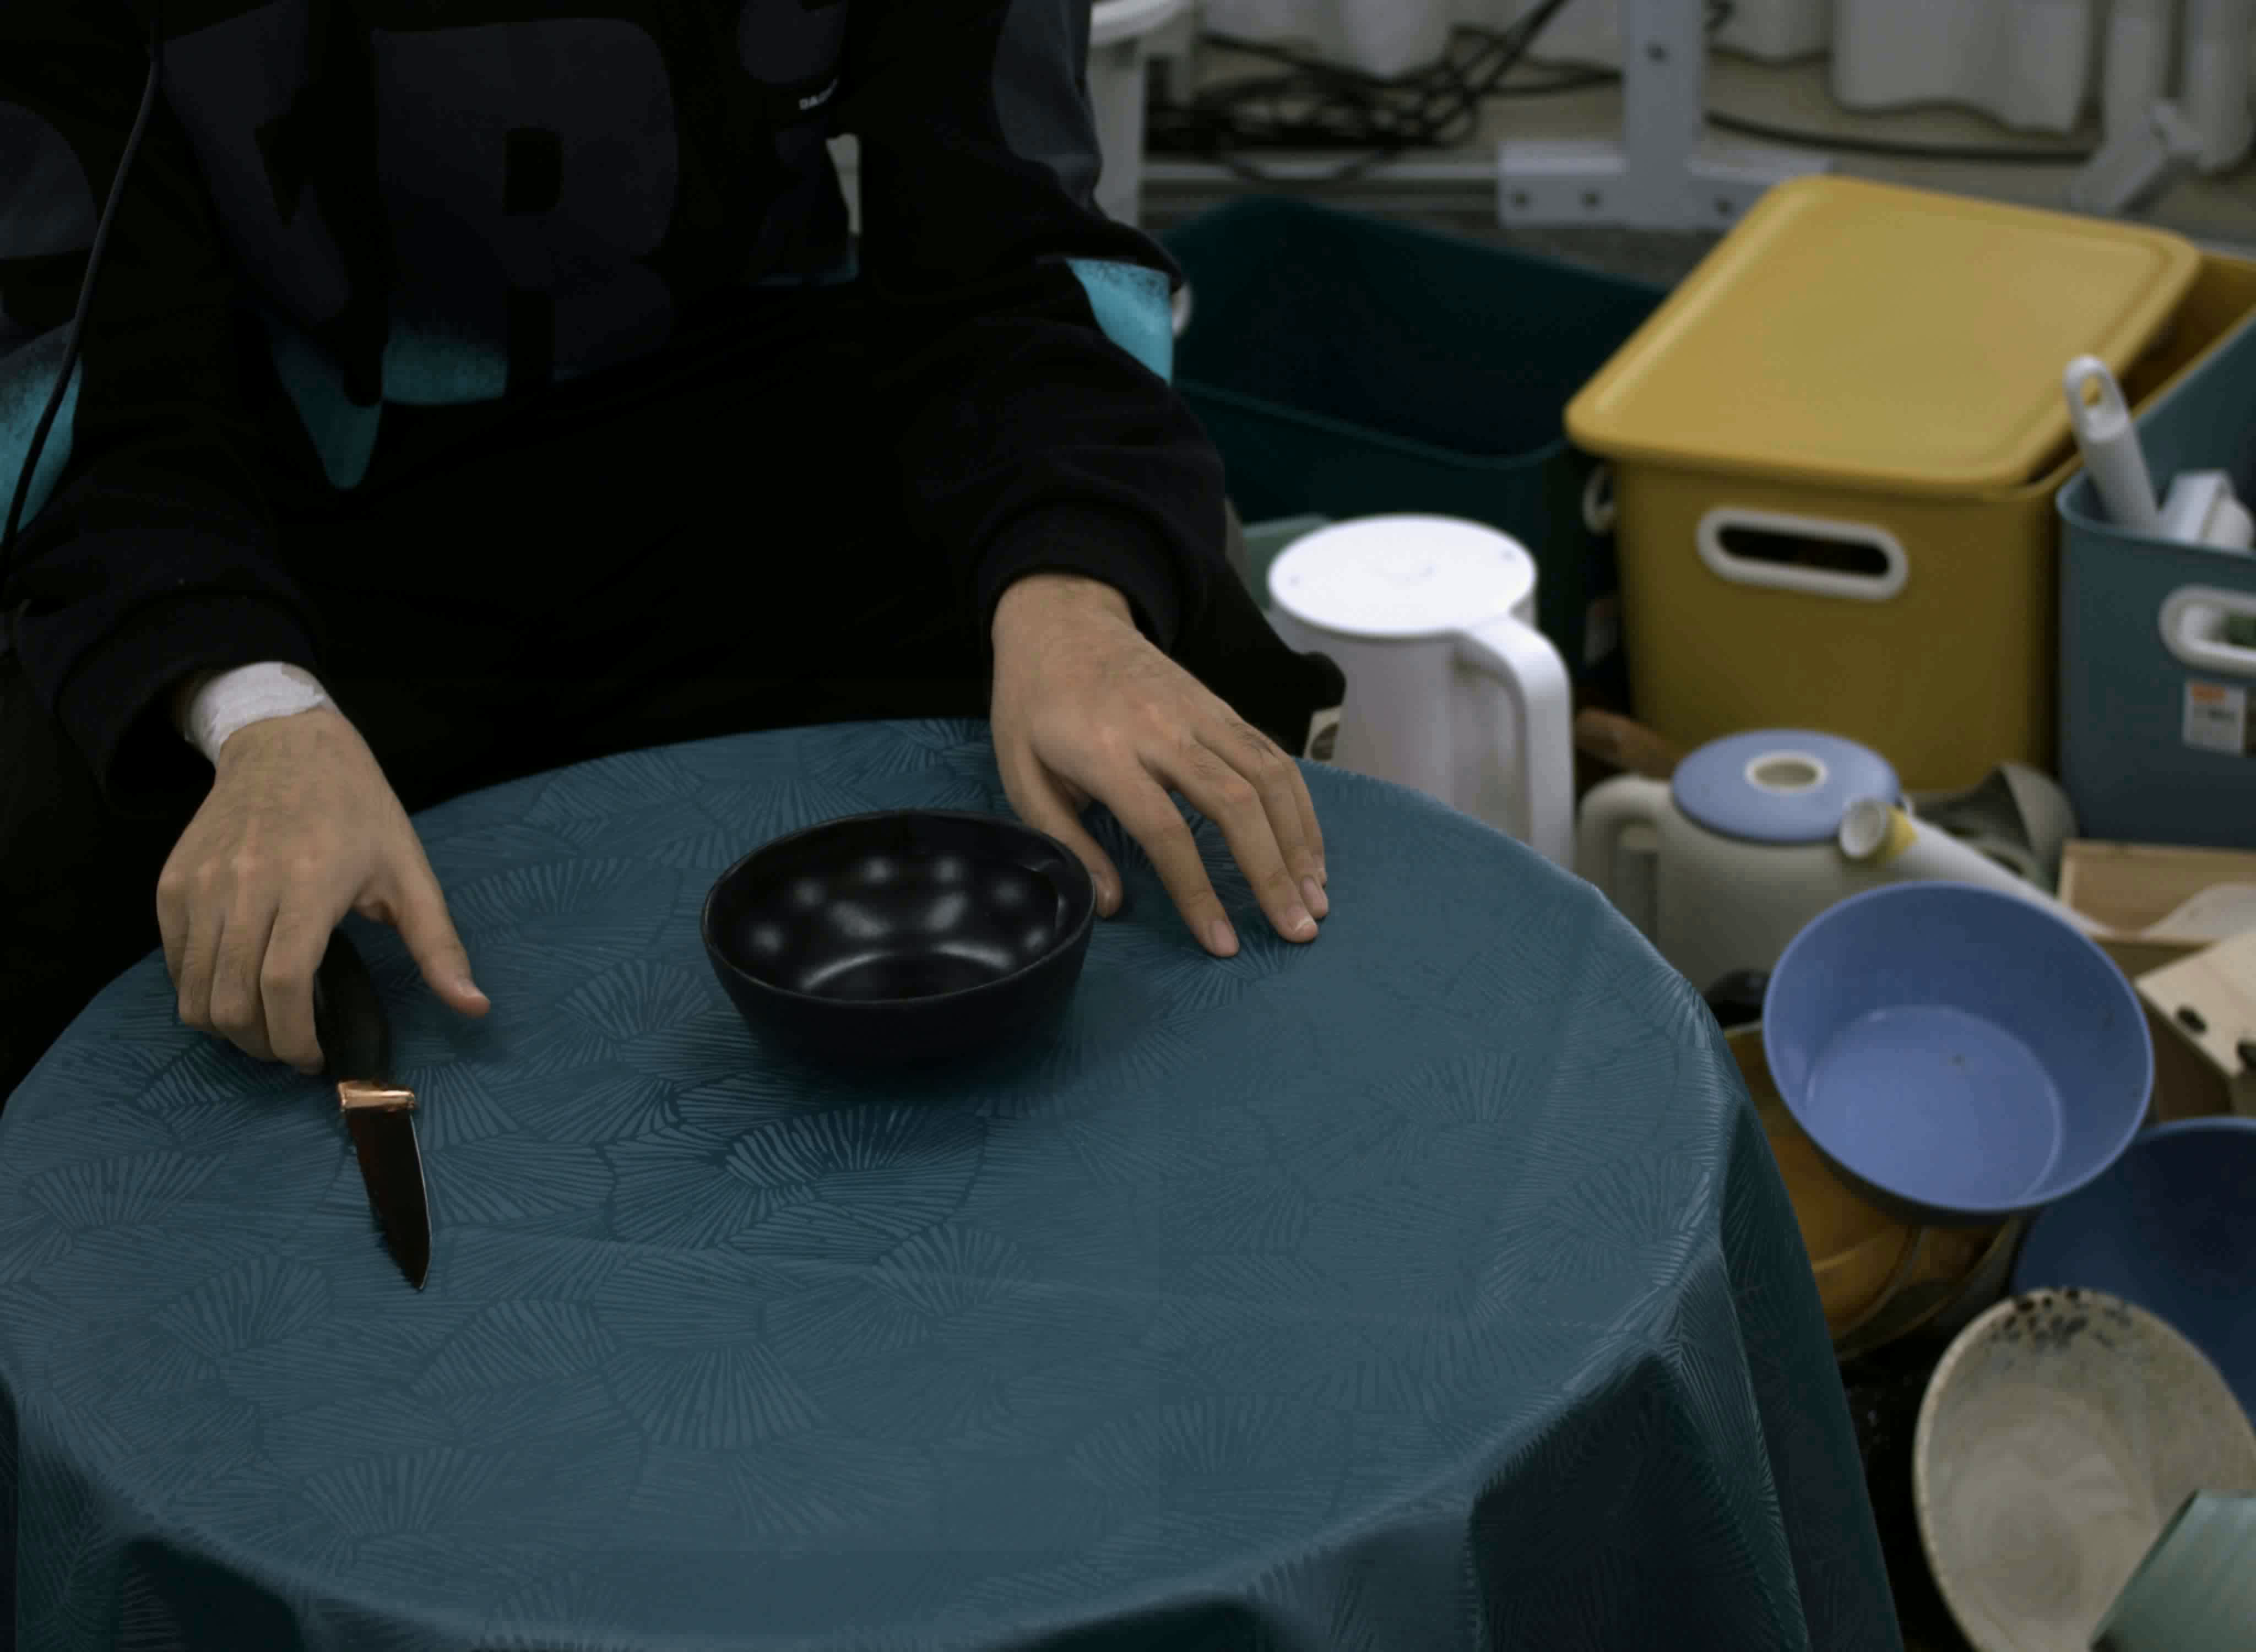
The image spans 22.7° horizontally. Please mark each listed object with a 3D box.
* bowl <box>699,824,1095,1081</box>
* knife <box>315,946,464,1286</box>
[{"bbox_3d":[-0.078,0.051,1.959,0.139,0.049,0.142,-5,24,3],"label":"bowl"},{"bbox_3d":[-0.254,0.099,1.919,0.026,0.017,0.228,-7,29,-13],"label":"knife"}]
